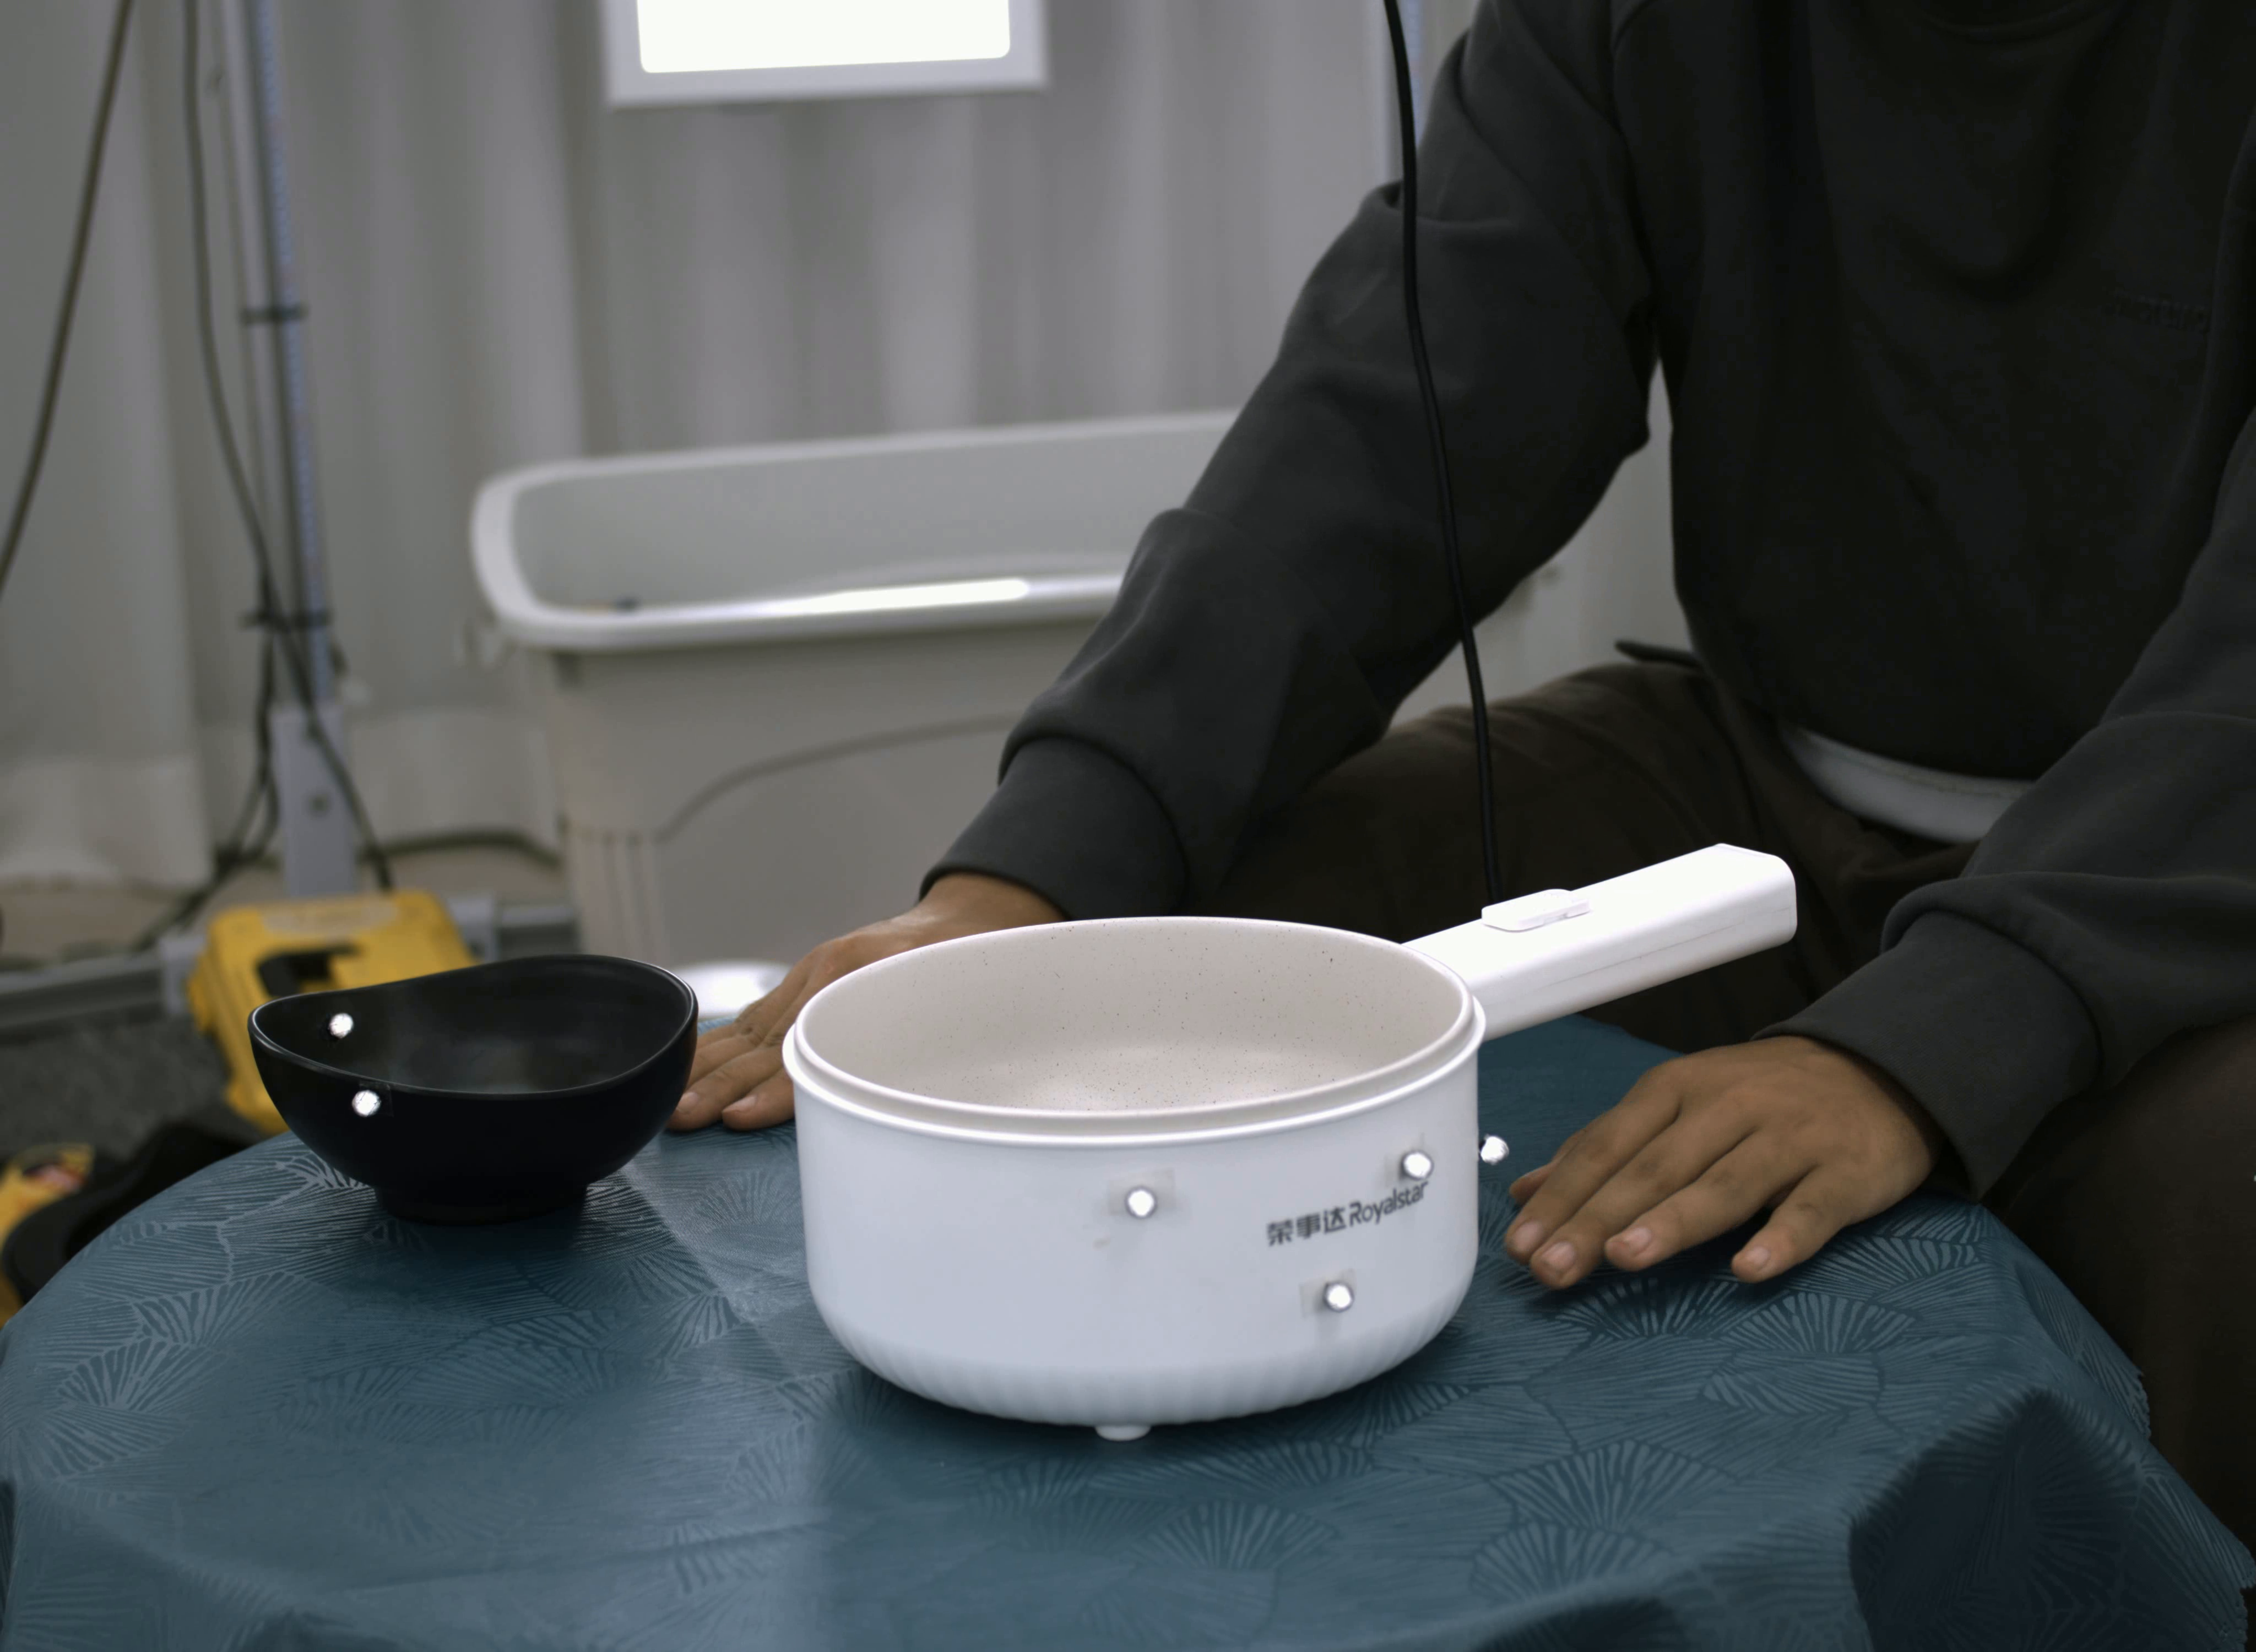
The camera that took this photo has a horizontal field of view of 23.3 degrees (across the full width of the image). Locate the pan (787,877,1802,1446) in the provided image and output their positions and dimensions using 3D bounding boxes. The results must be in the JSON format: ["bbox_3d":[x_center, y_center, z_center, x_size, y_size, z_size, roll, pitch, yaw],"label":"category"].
[{"bbox_3d":[0.063,0.092,1.621,0.353,0.102,0.202,-12,15,-38],"label":"pan"}]

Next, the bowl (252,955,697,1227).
[{"bbox_3d":[-0.206,0.087,1.733,0.137,0.066,0.171,-10,15,-26],"label":"bowl"}]
